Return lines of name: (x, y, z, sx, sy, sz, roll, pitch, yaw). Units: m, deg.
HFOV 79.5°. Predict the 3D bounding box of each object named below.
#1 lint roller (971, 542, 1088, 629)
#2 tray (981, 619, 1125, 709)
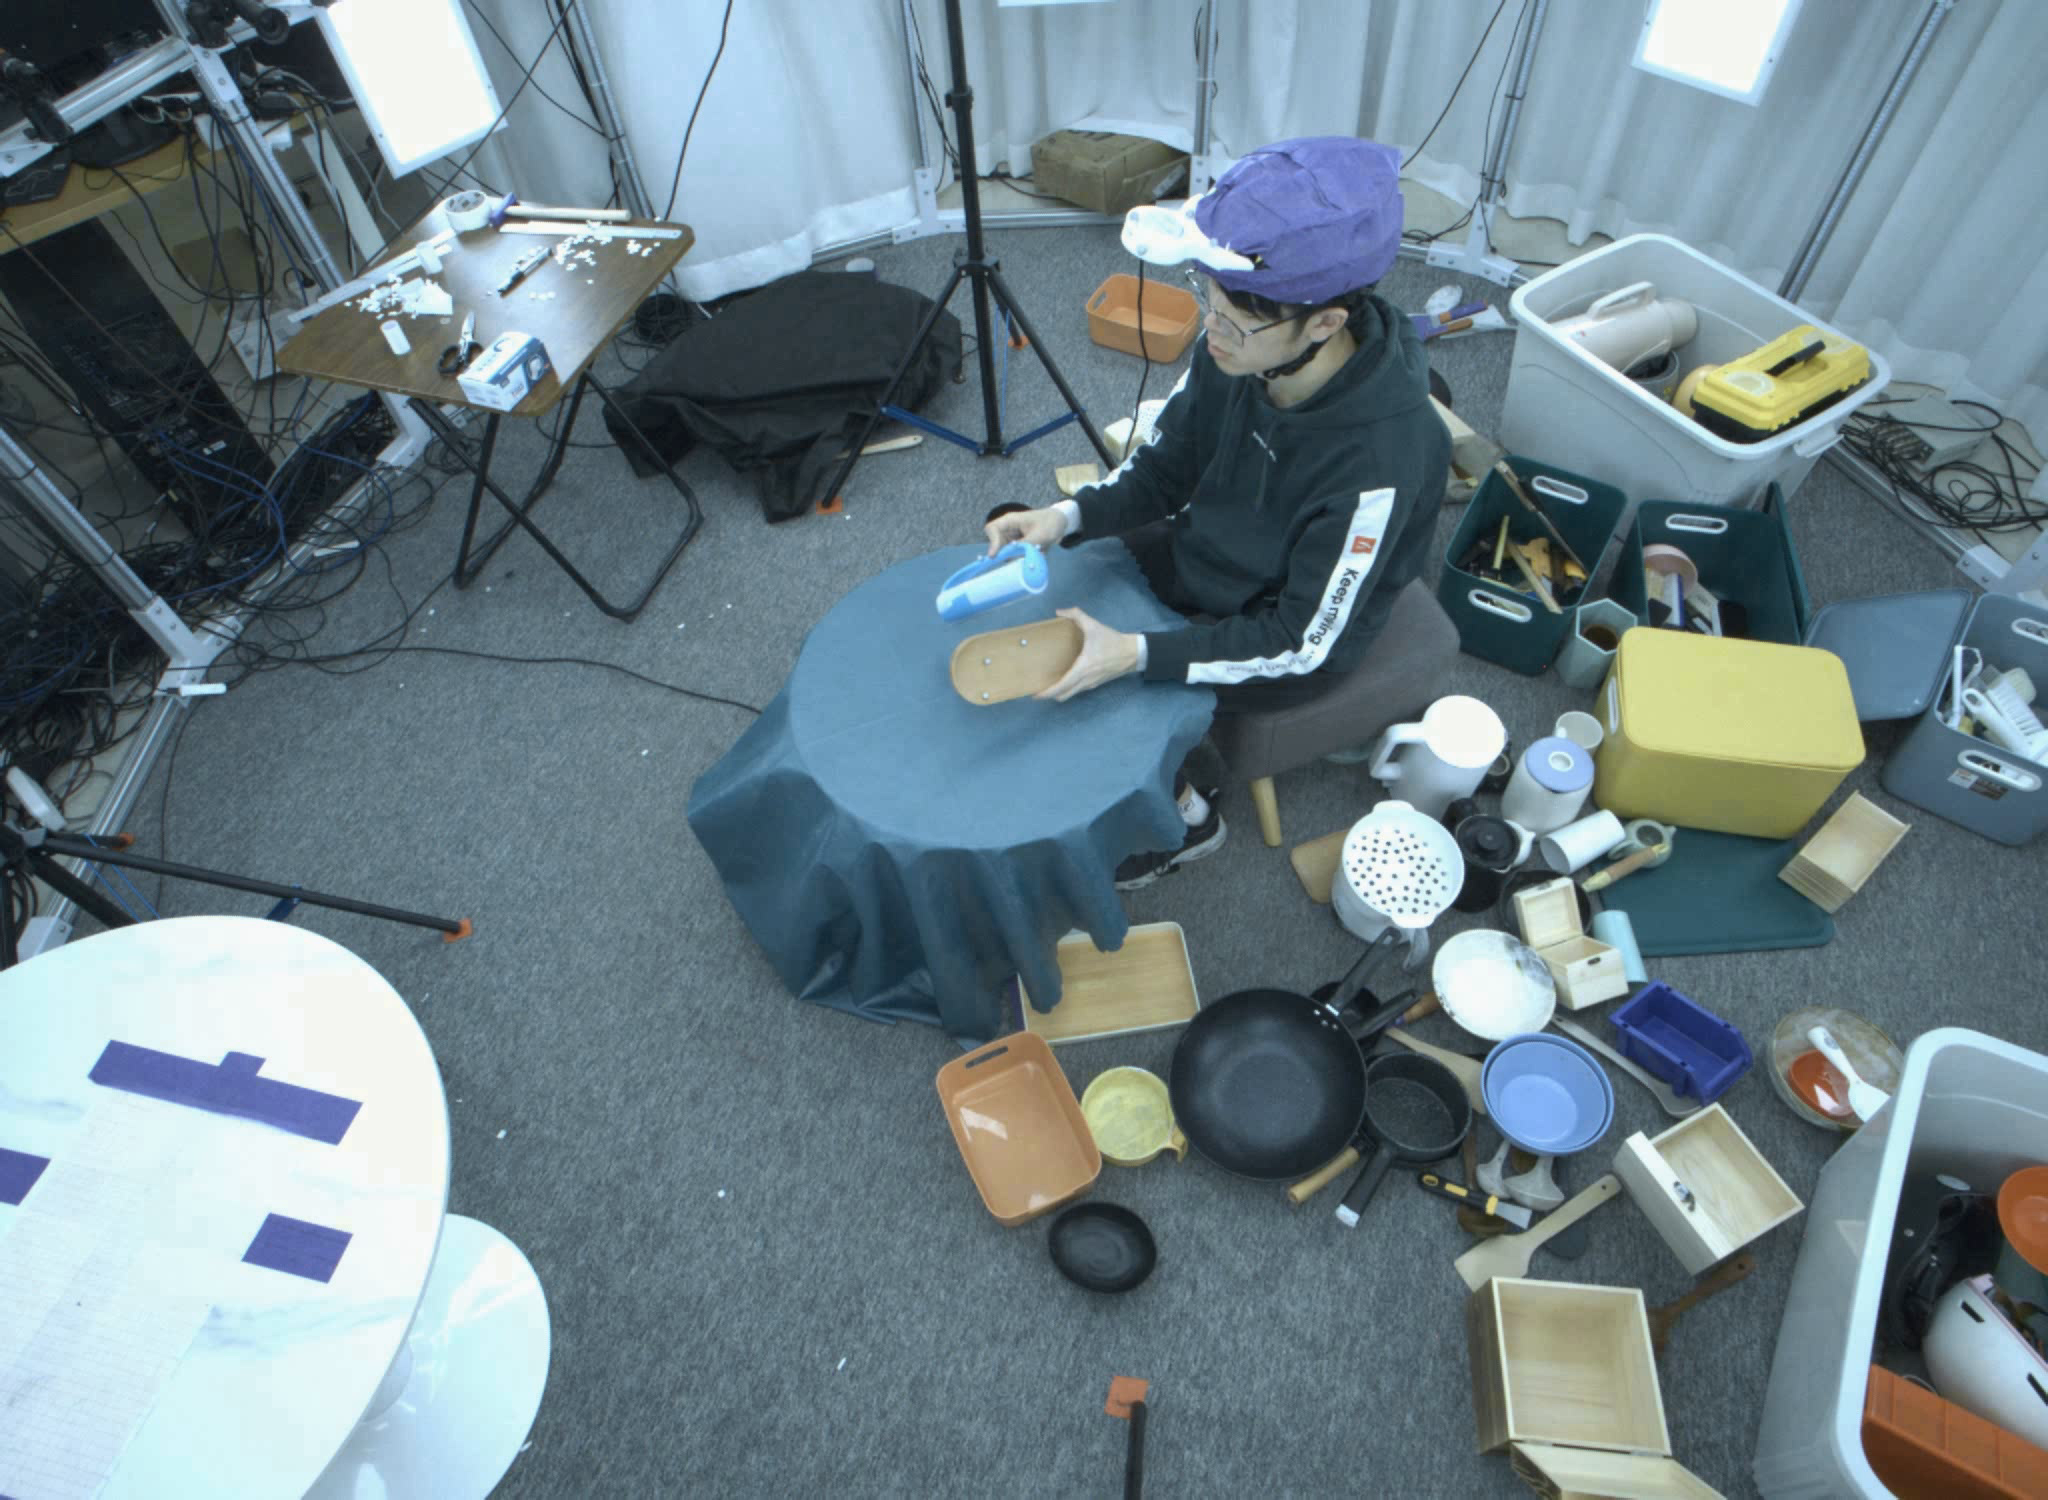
lint roller: (0.028, -0.262, 1.791, 0.225, 0.069, 0.181, -16, 32, 48)
tray: (0.043, -0.124, 1.763, 0.235, 0.102, 0.020, -15, 14, -28)
